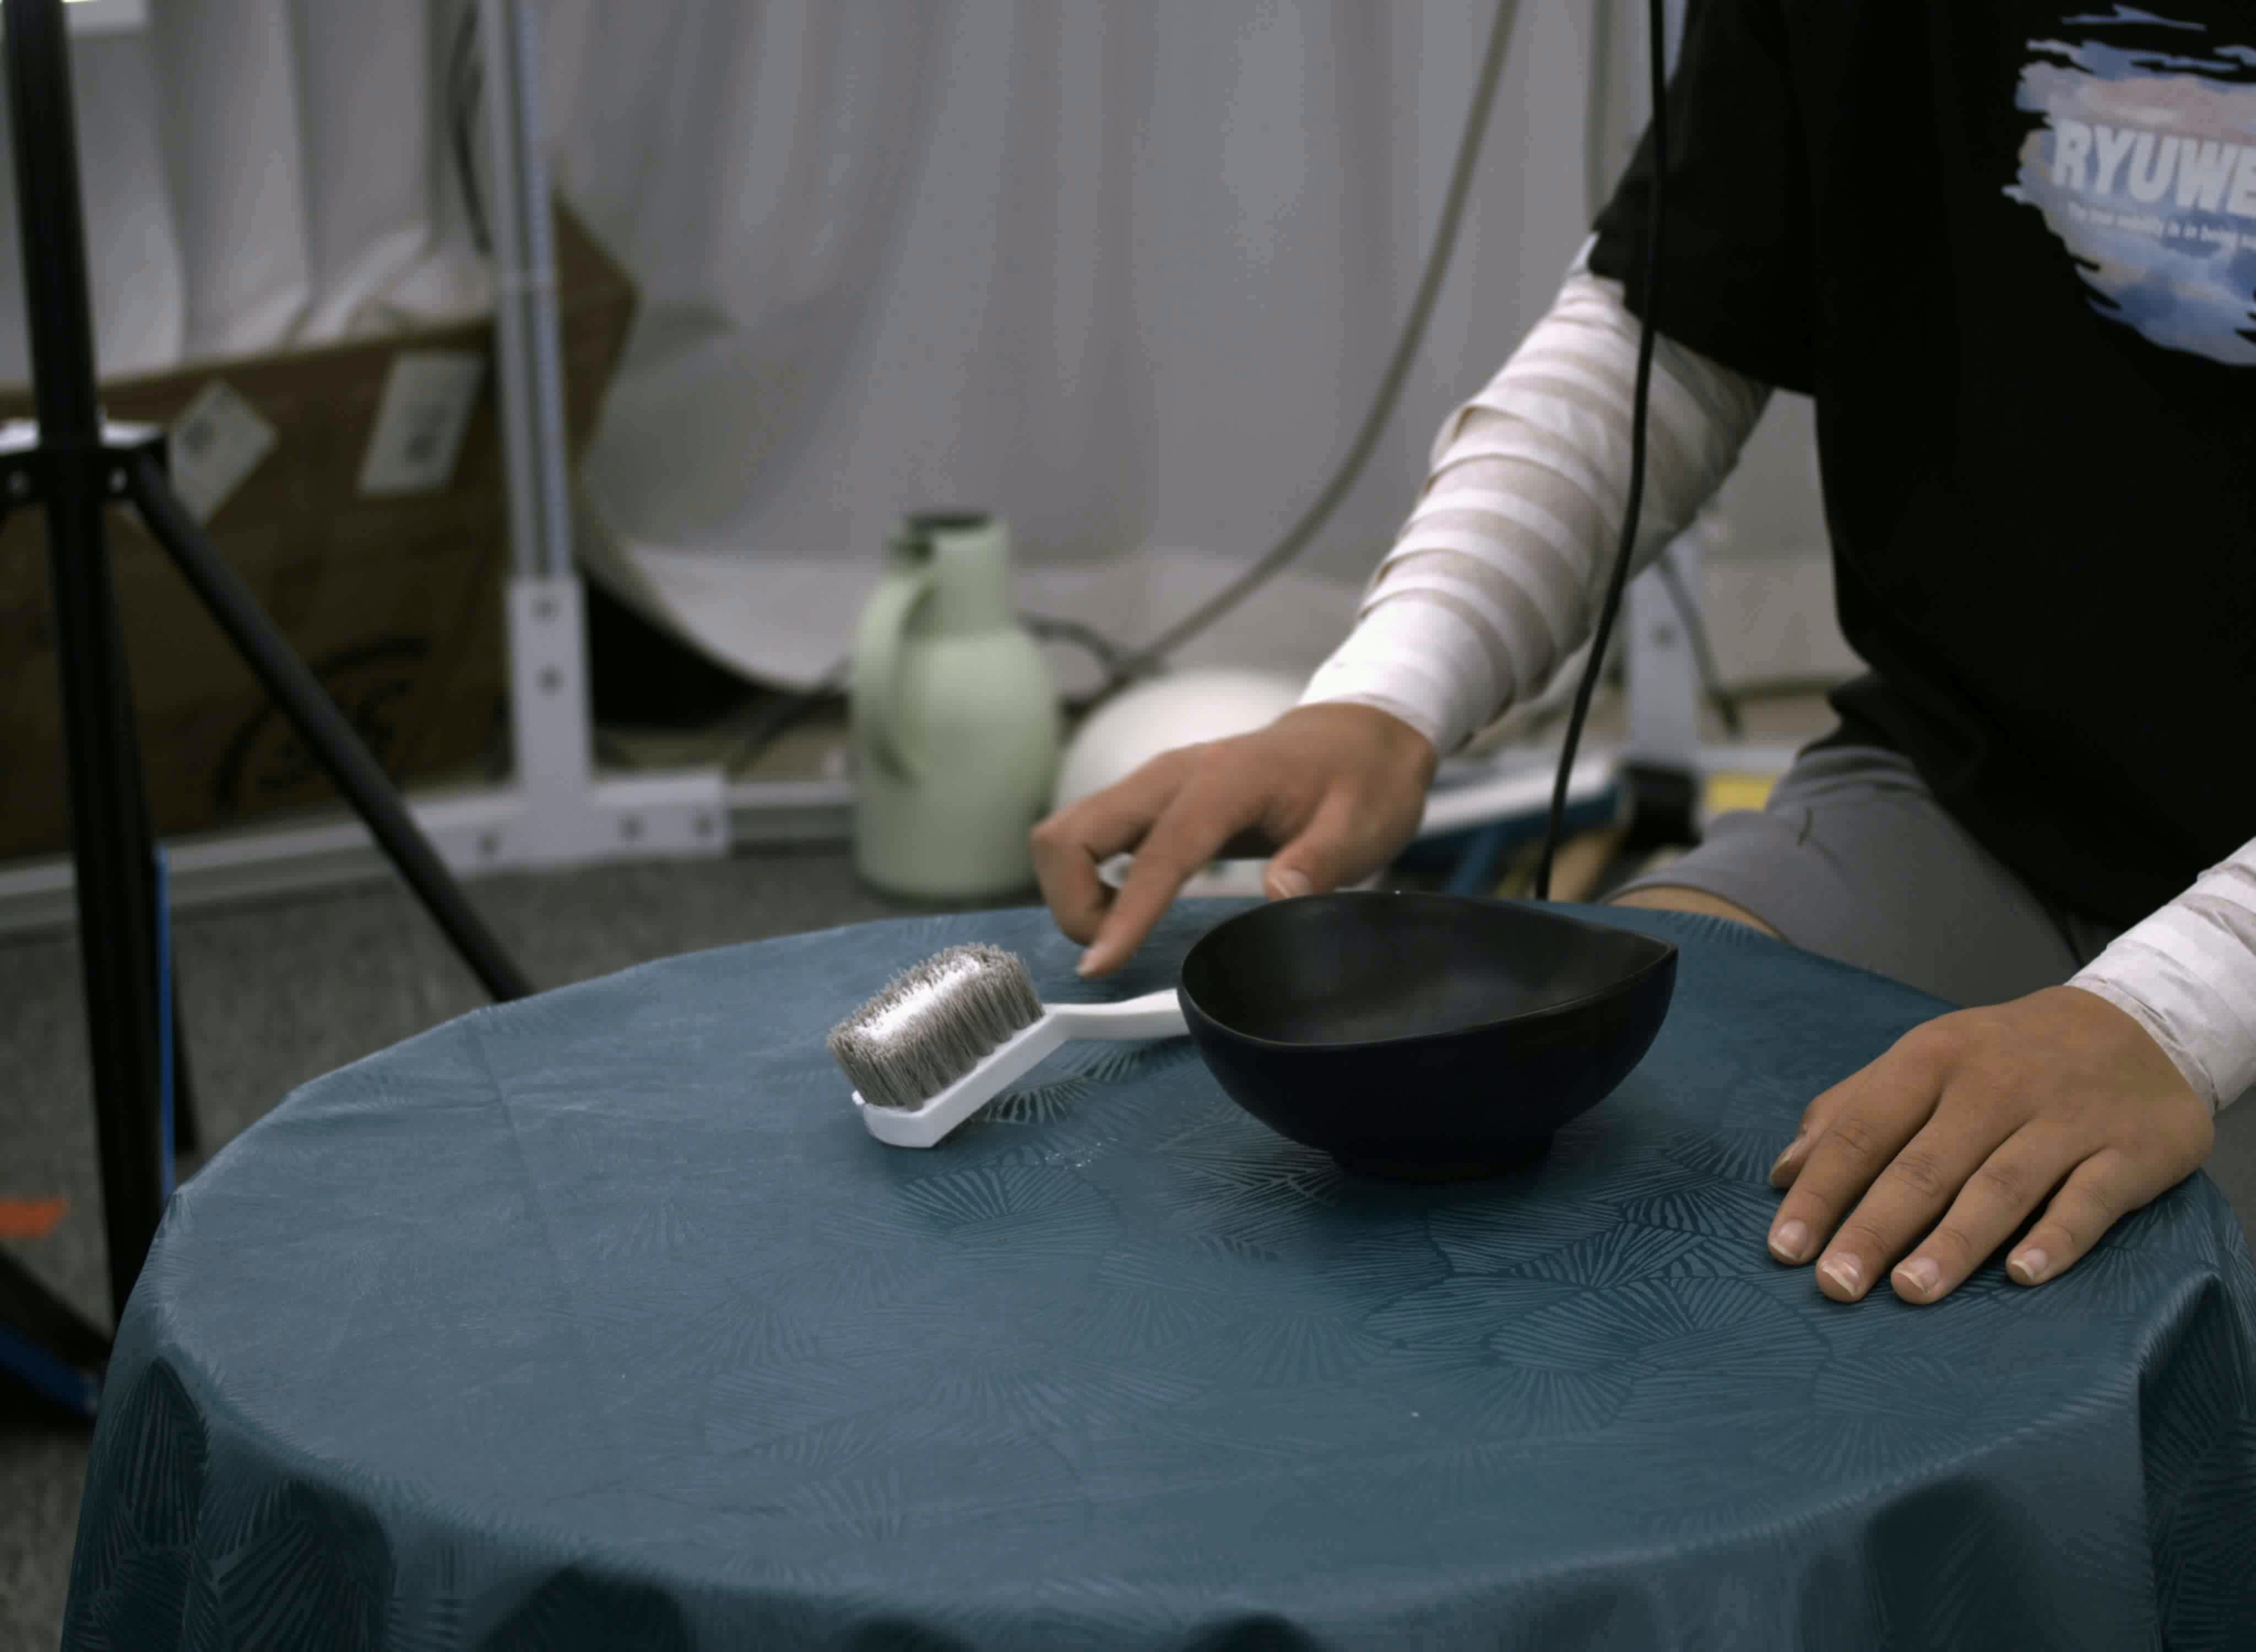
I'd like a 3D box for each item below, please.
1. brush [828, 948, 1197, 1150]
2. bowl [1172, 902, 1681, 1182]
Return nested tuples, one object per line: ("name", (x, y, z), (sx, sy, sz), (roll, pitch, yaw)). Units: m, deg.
("brush", (0.005, 0.049, 1.676), (0.238, 0.050, 0.035), (-17, 22, -39))
("bowl", (0.090, 0.066, 1.577), (0.140, 0.067, 0.166), (12, 18, 42))
